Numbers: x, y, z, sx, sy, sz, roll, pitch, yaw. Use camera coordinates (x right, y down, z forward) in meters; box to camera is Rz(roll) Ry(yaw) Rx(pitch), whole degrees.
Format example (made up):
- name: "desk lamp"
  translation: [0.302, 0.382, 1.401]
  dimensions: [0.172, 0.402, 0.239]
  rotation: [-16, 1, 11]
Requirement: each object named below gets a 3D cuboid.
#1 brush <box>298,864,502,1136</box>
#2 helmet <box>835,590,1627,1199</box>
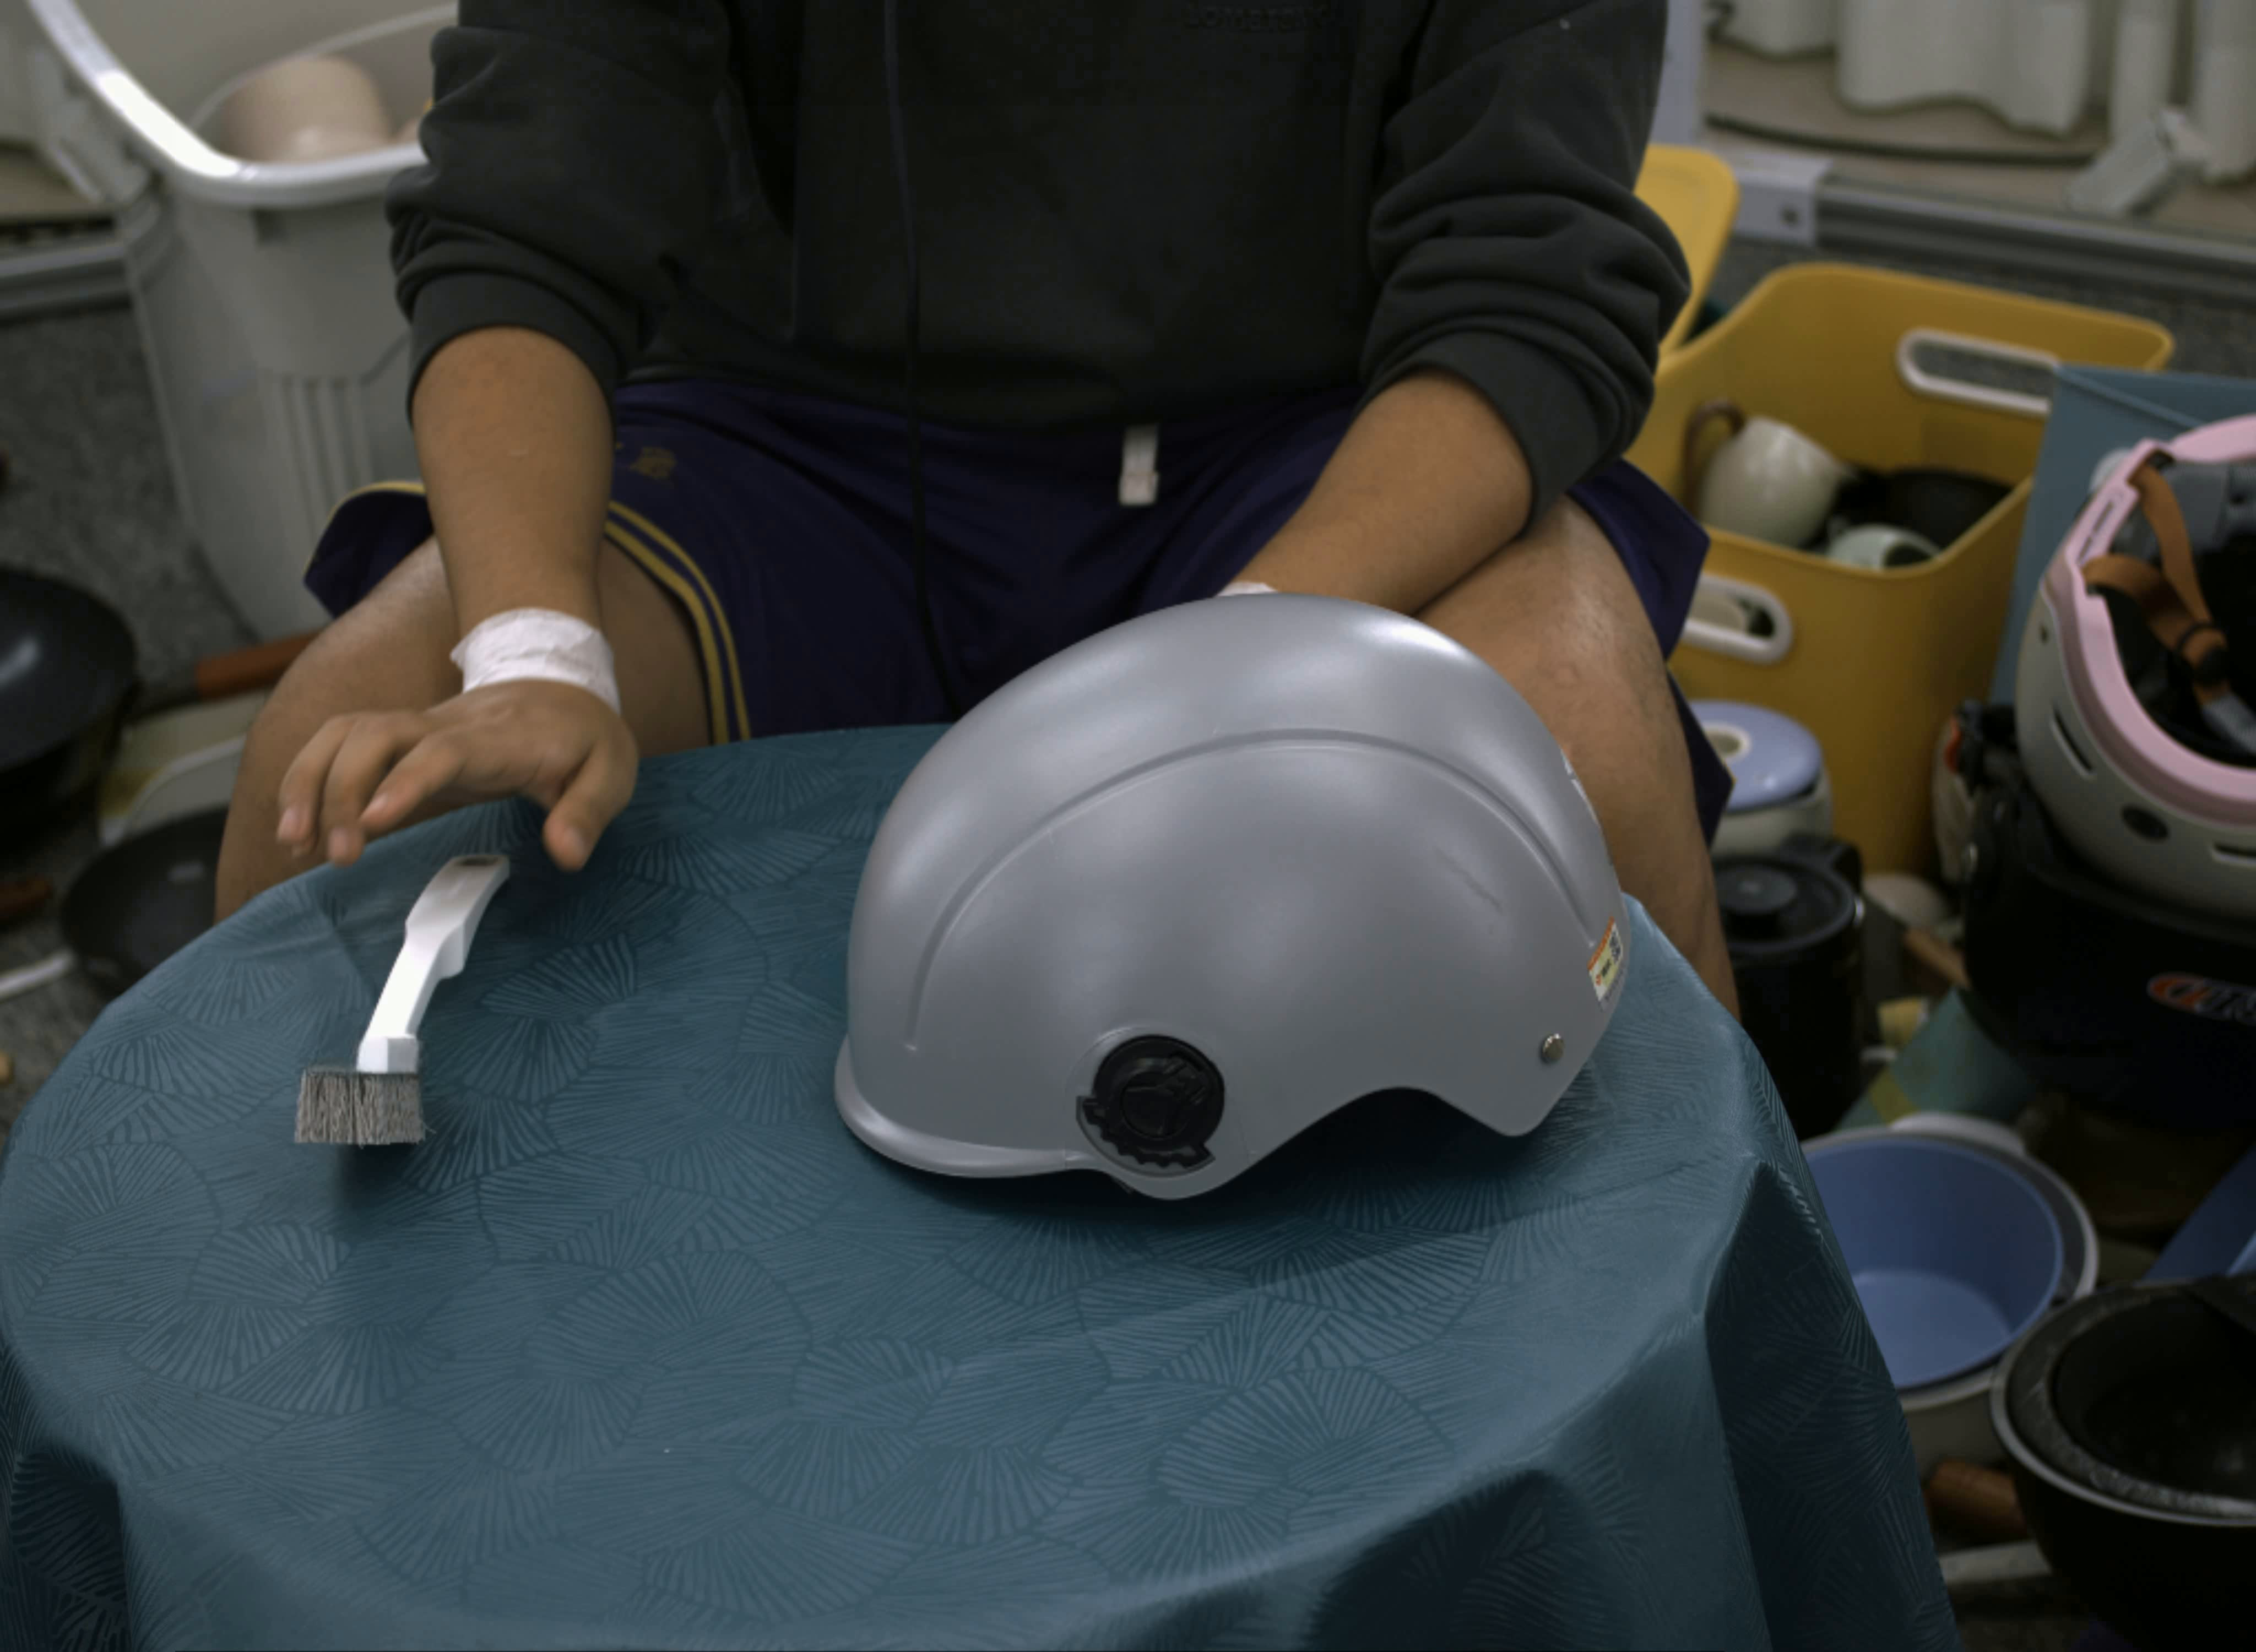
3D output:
- name: "brush"
  translation: [-0.251, 0.065, 1.973]
  dimensions: [0.034, 0.050, 0.246]
  rotation: [-1, 14, 5]
- name: "helmet"
  translation: [0.029, 0.009, 1.903]
  dimensions: [0.275, 0.167, 0.235]
  rotation: [-7, 24, -3]
